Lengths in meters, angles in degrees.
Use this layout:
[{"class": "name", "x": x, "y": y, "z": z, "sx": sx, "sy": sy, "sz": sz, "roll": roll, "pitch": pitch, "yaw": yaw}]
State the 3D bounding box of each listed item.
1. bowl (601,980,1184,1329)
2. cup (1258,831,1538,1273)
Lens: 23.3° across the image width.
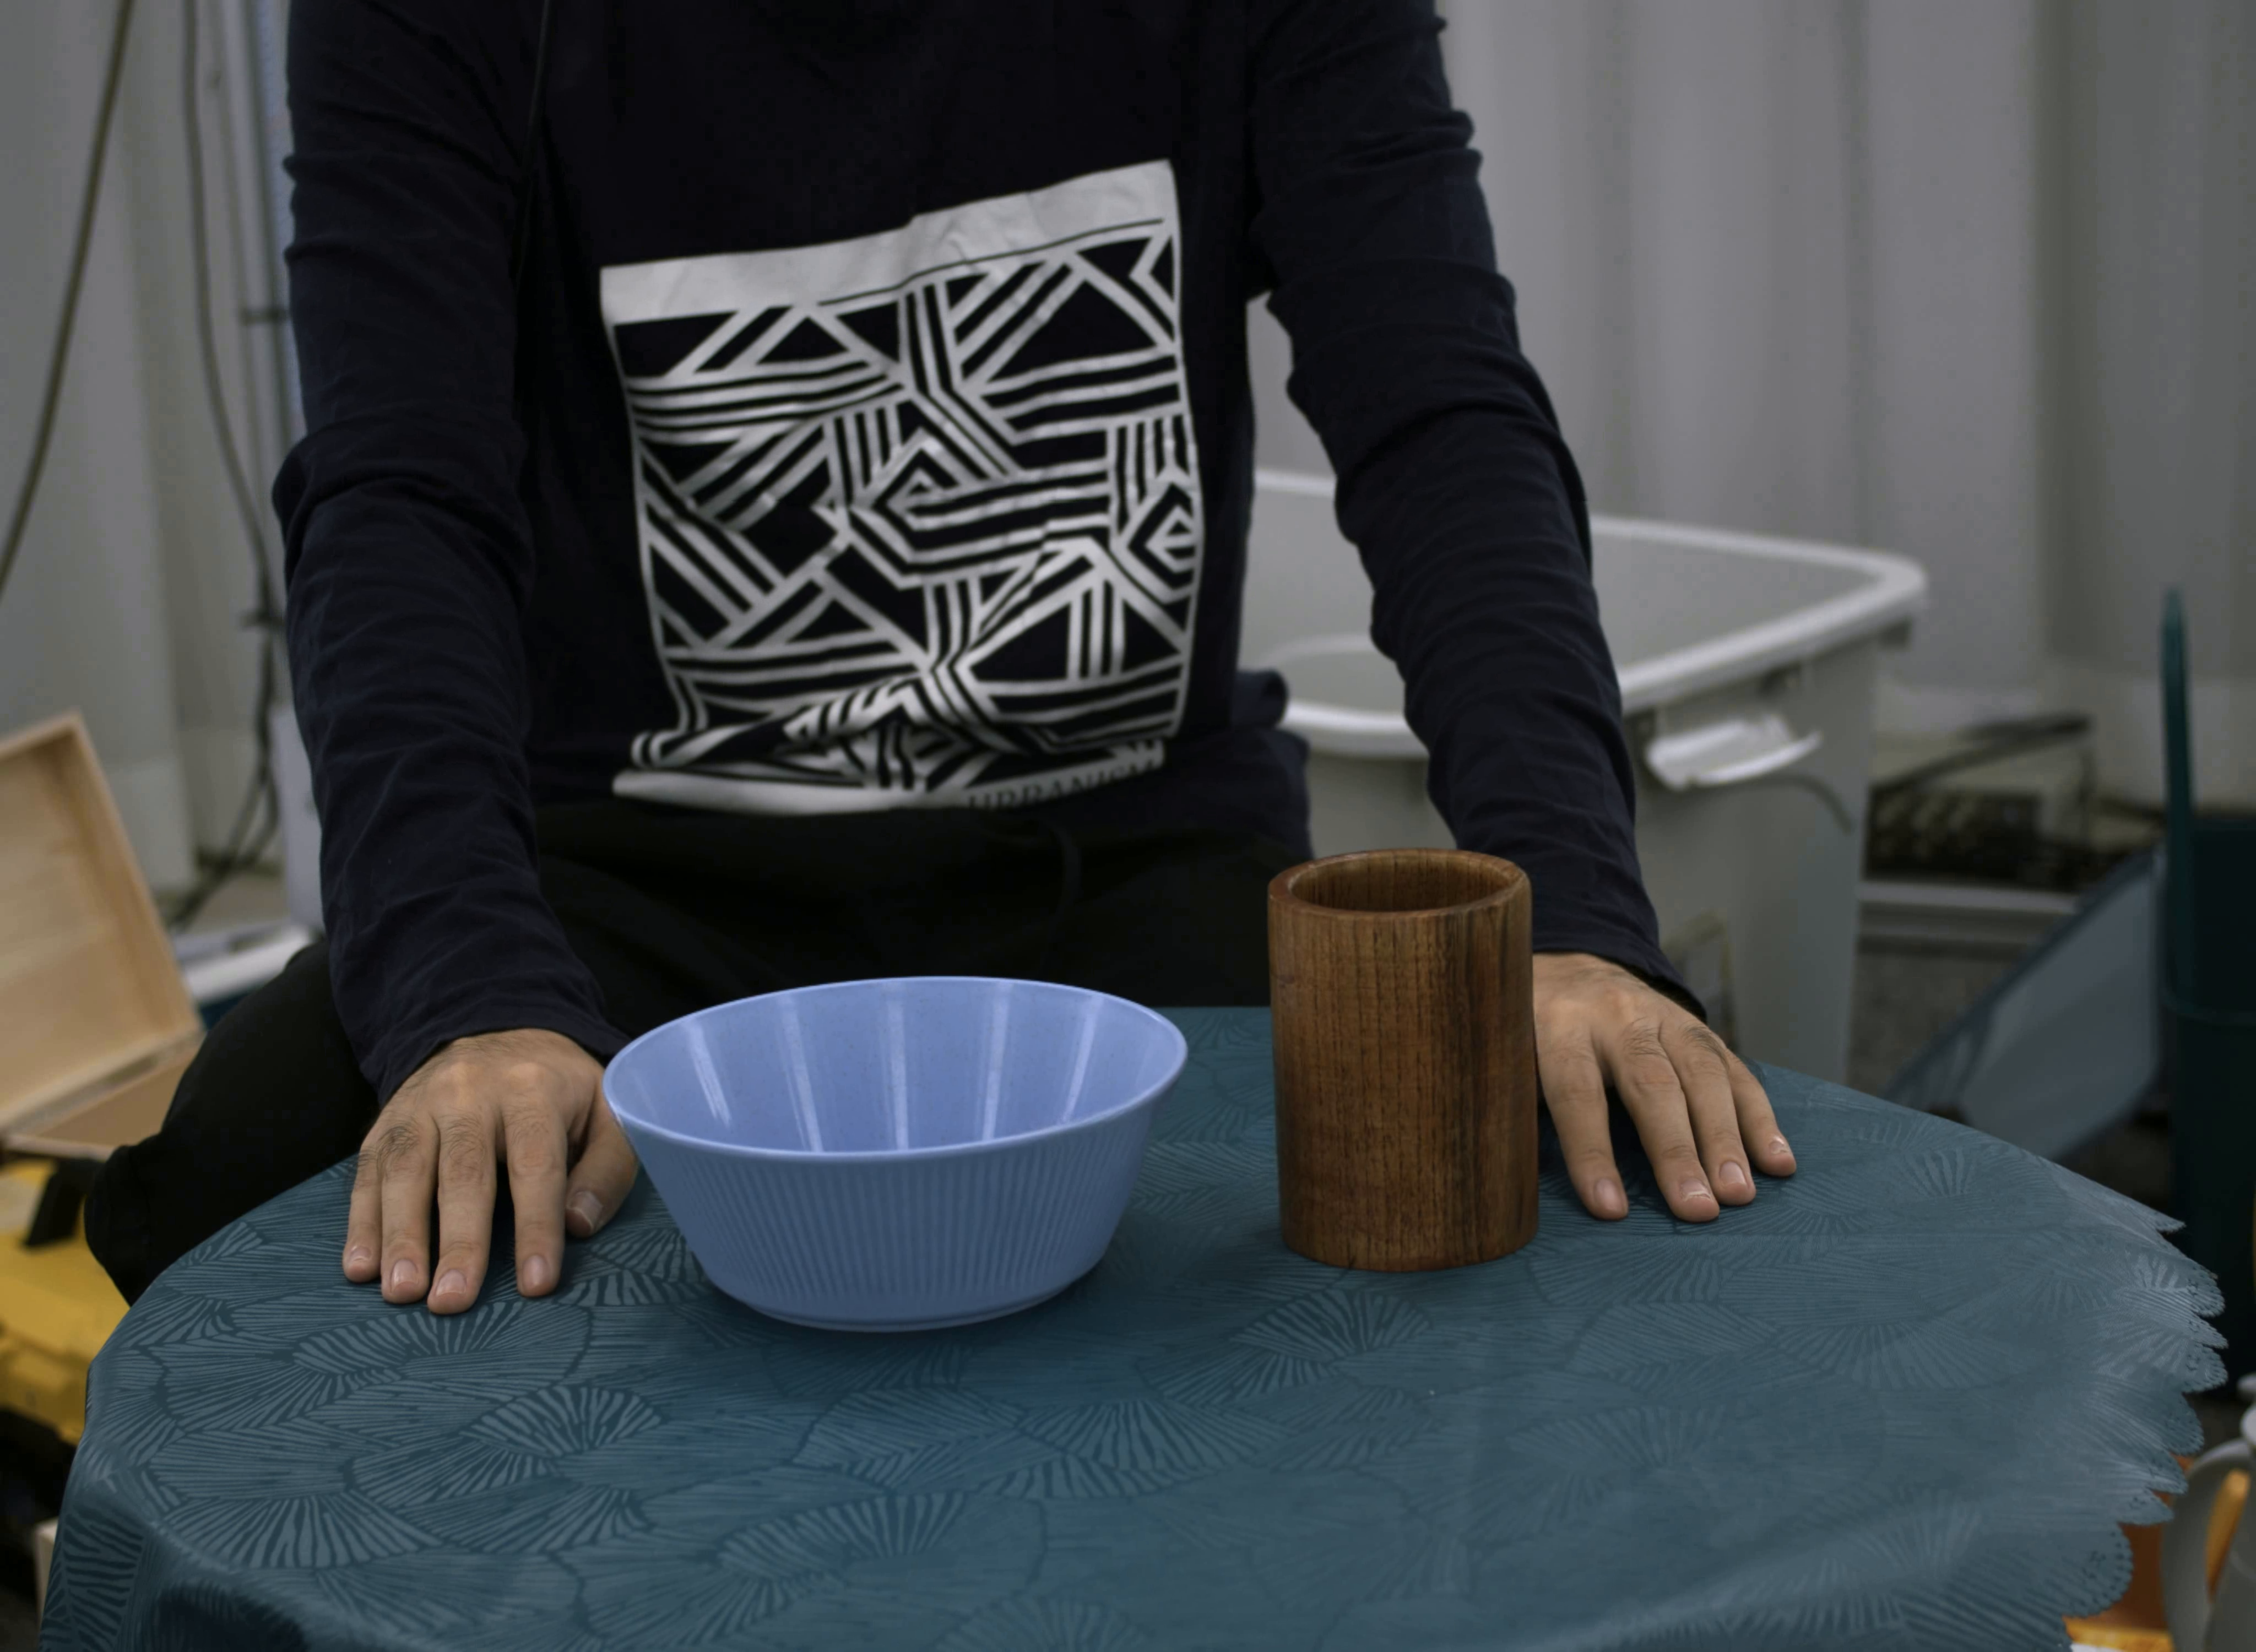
[{"class": "bowl", "x": -0.069, "y": 0.101, "z": 1.645, "sx": 0.175, "sy": 0.070, "sz": 0.177, "roll": -2, "pitch": 14, "yaw": 0}, {"class": "cup", "x": 0.082, "y": 0.067, "z": 1.652, "sx": 0.087, "sy": 0.118, "sz": 0.088, "roll": -2, "pitch": 12, "yaw": 0}]
